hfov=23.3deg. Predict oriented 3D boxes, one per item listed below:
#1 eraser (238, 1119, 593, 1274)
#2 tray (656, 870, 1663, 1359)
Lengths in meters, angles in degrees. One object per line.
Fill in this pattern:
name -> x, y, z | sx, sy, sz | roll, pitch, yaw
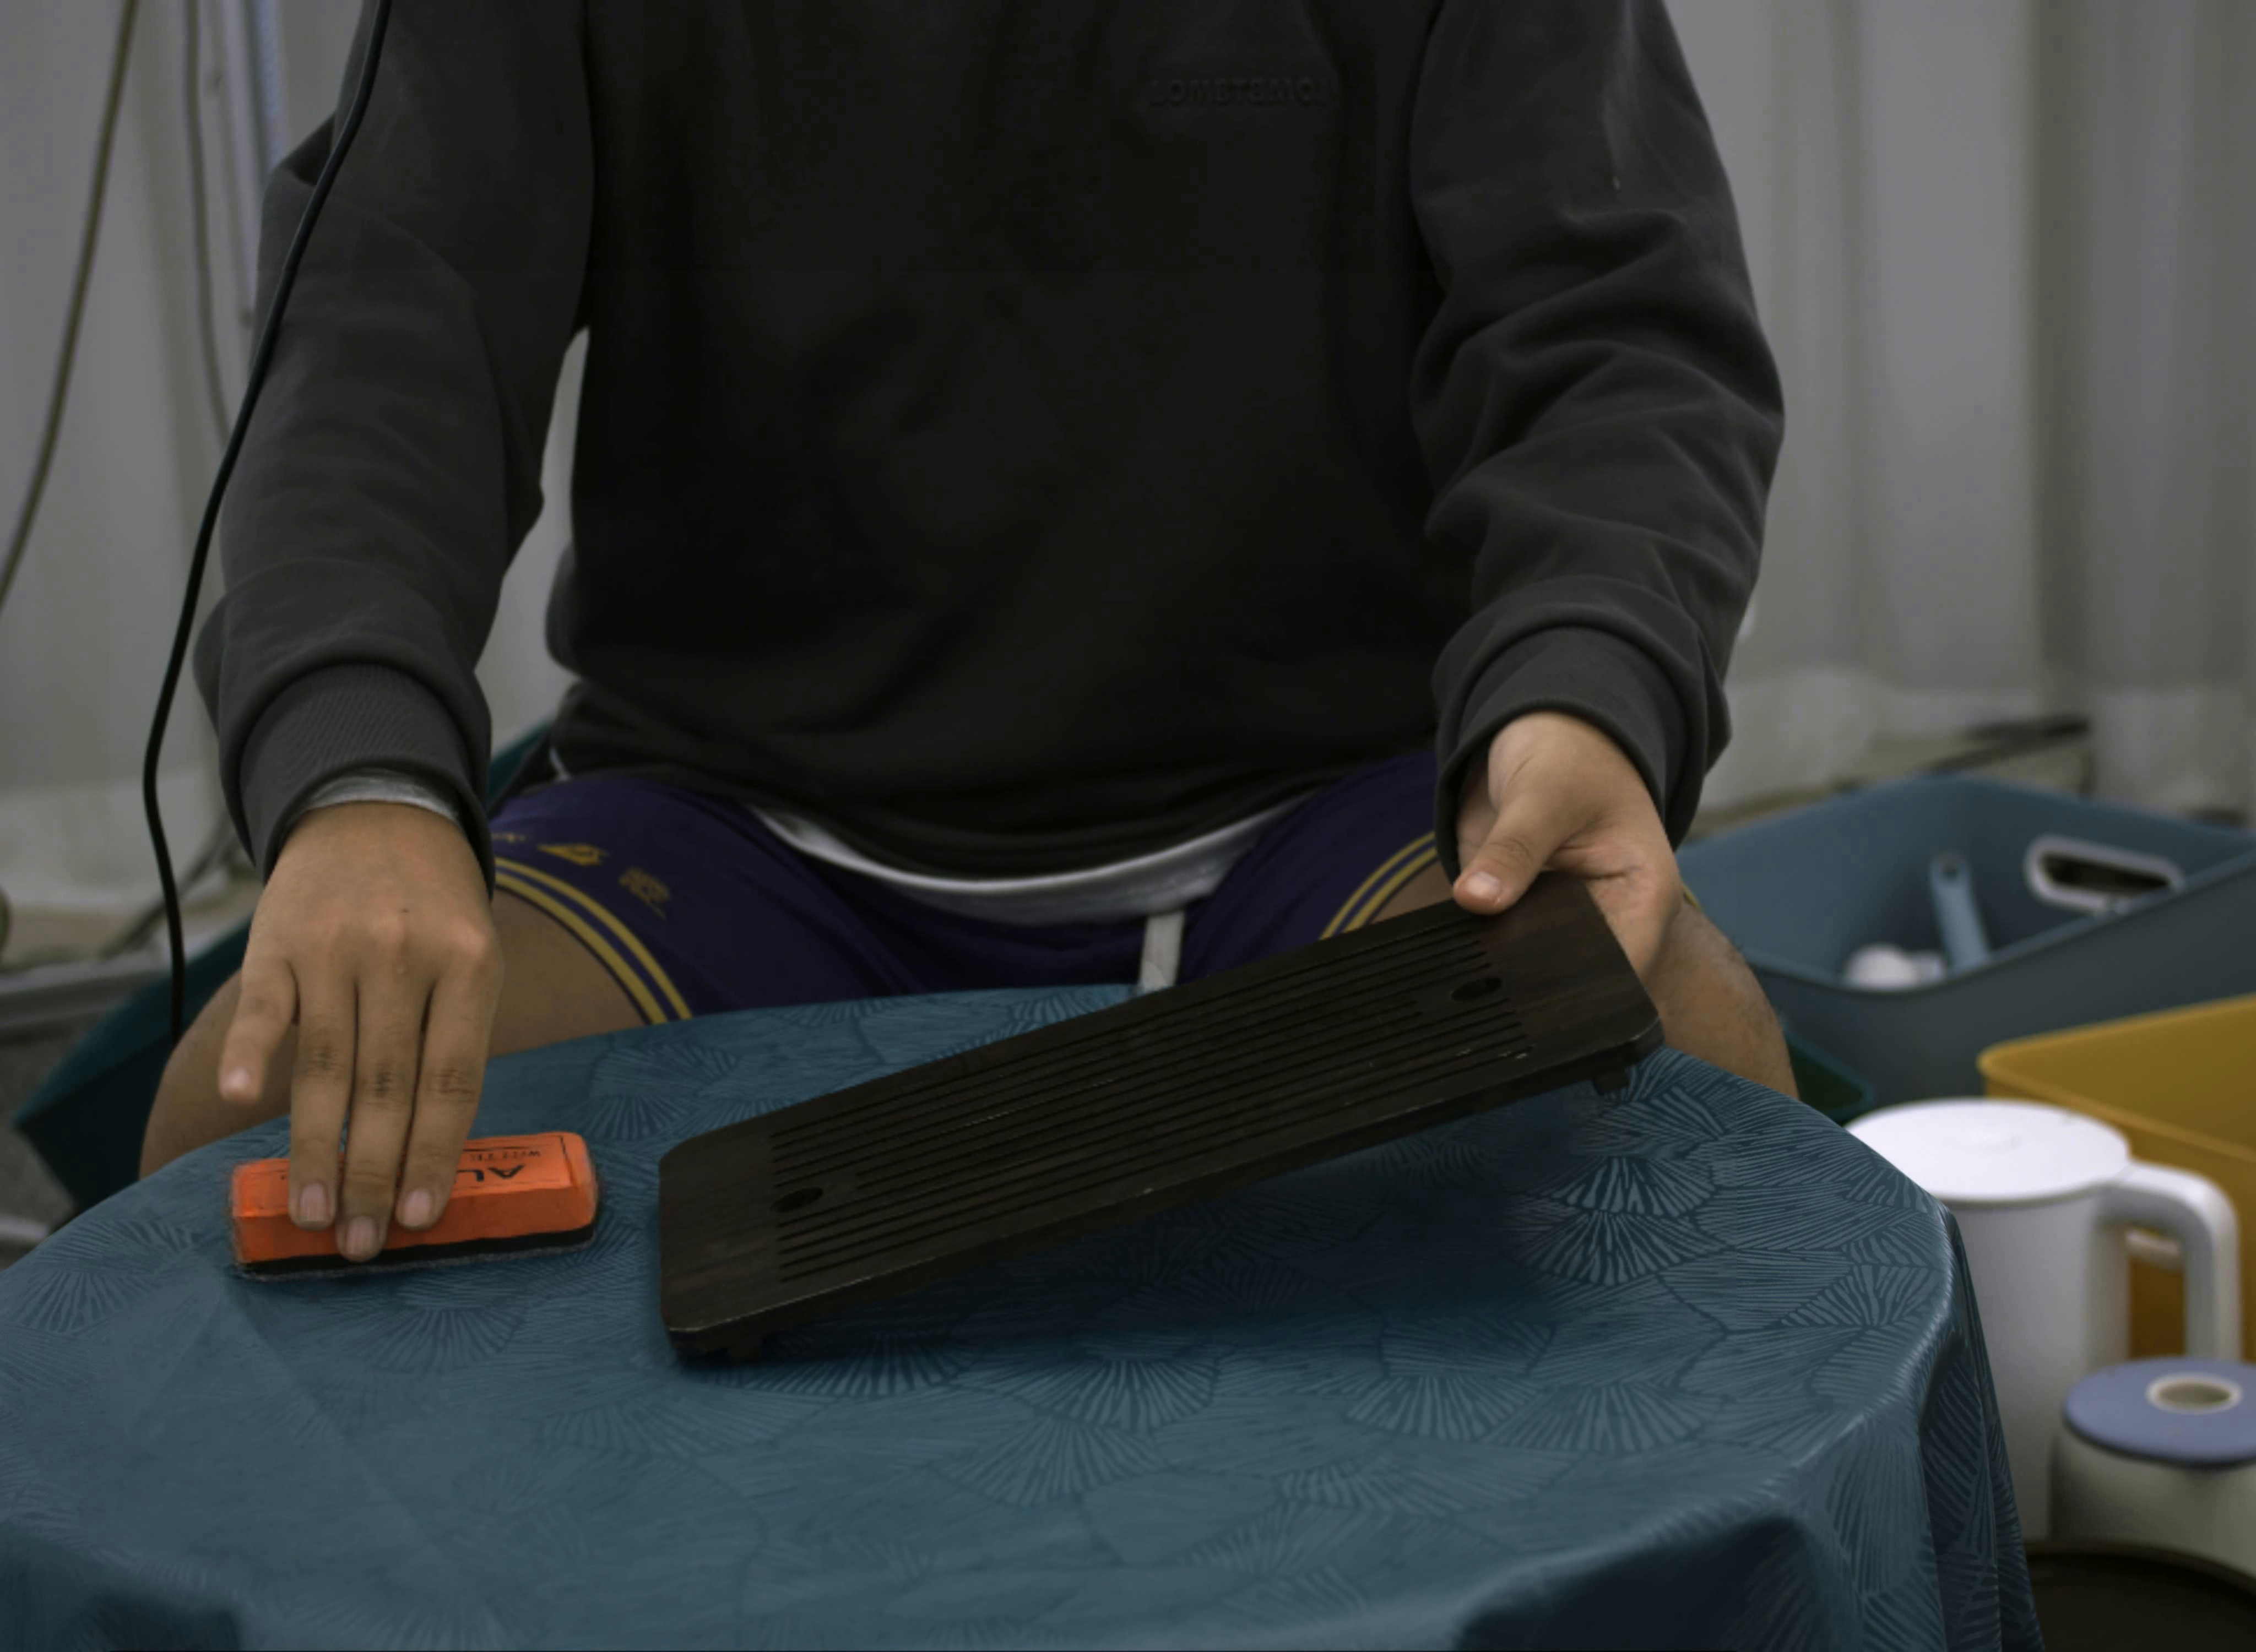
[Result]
eraser -> -0.222, 0.115, 1.701 | 0.107, 0.023, 0.059 | -6, 15, -8
tray -> 0.005, 0.087, 1.659 | 0.305, 0.018, 0.171 | -17, 17, 0
